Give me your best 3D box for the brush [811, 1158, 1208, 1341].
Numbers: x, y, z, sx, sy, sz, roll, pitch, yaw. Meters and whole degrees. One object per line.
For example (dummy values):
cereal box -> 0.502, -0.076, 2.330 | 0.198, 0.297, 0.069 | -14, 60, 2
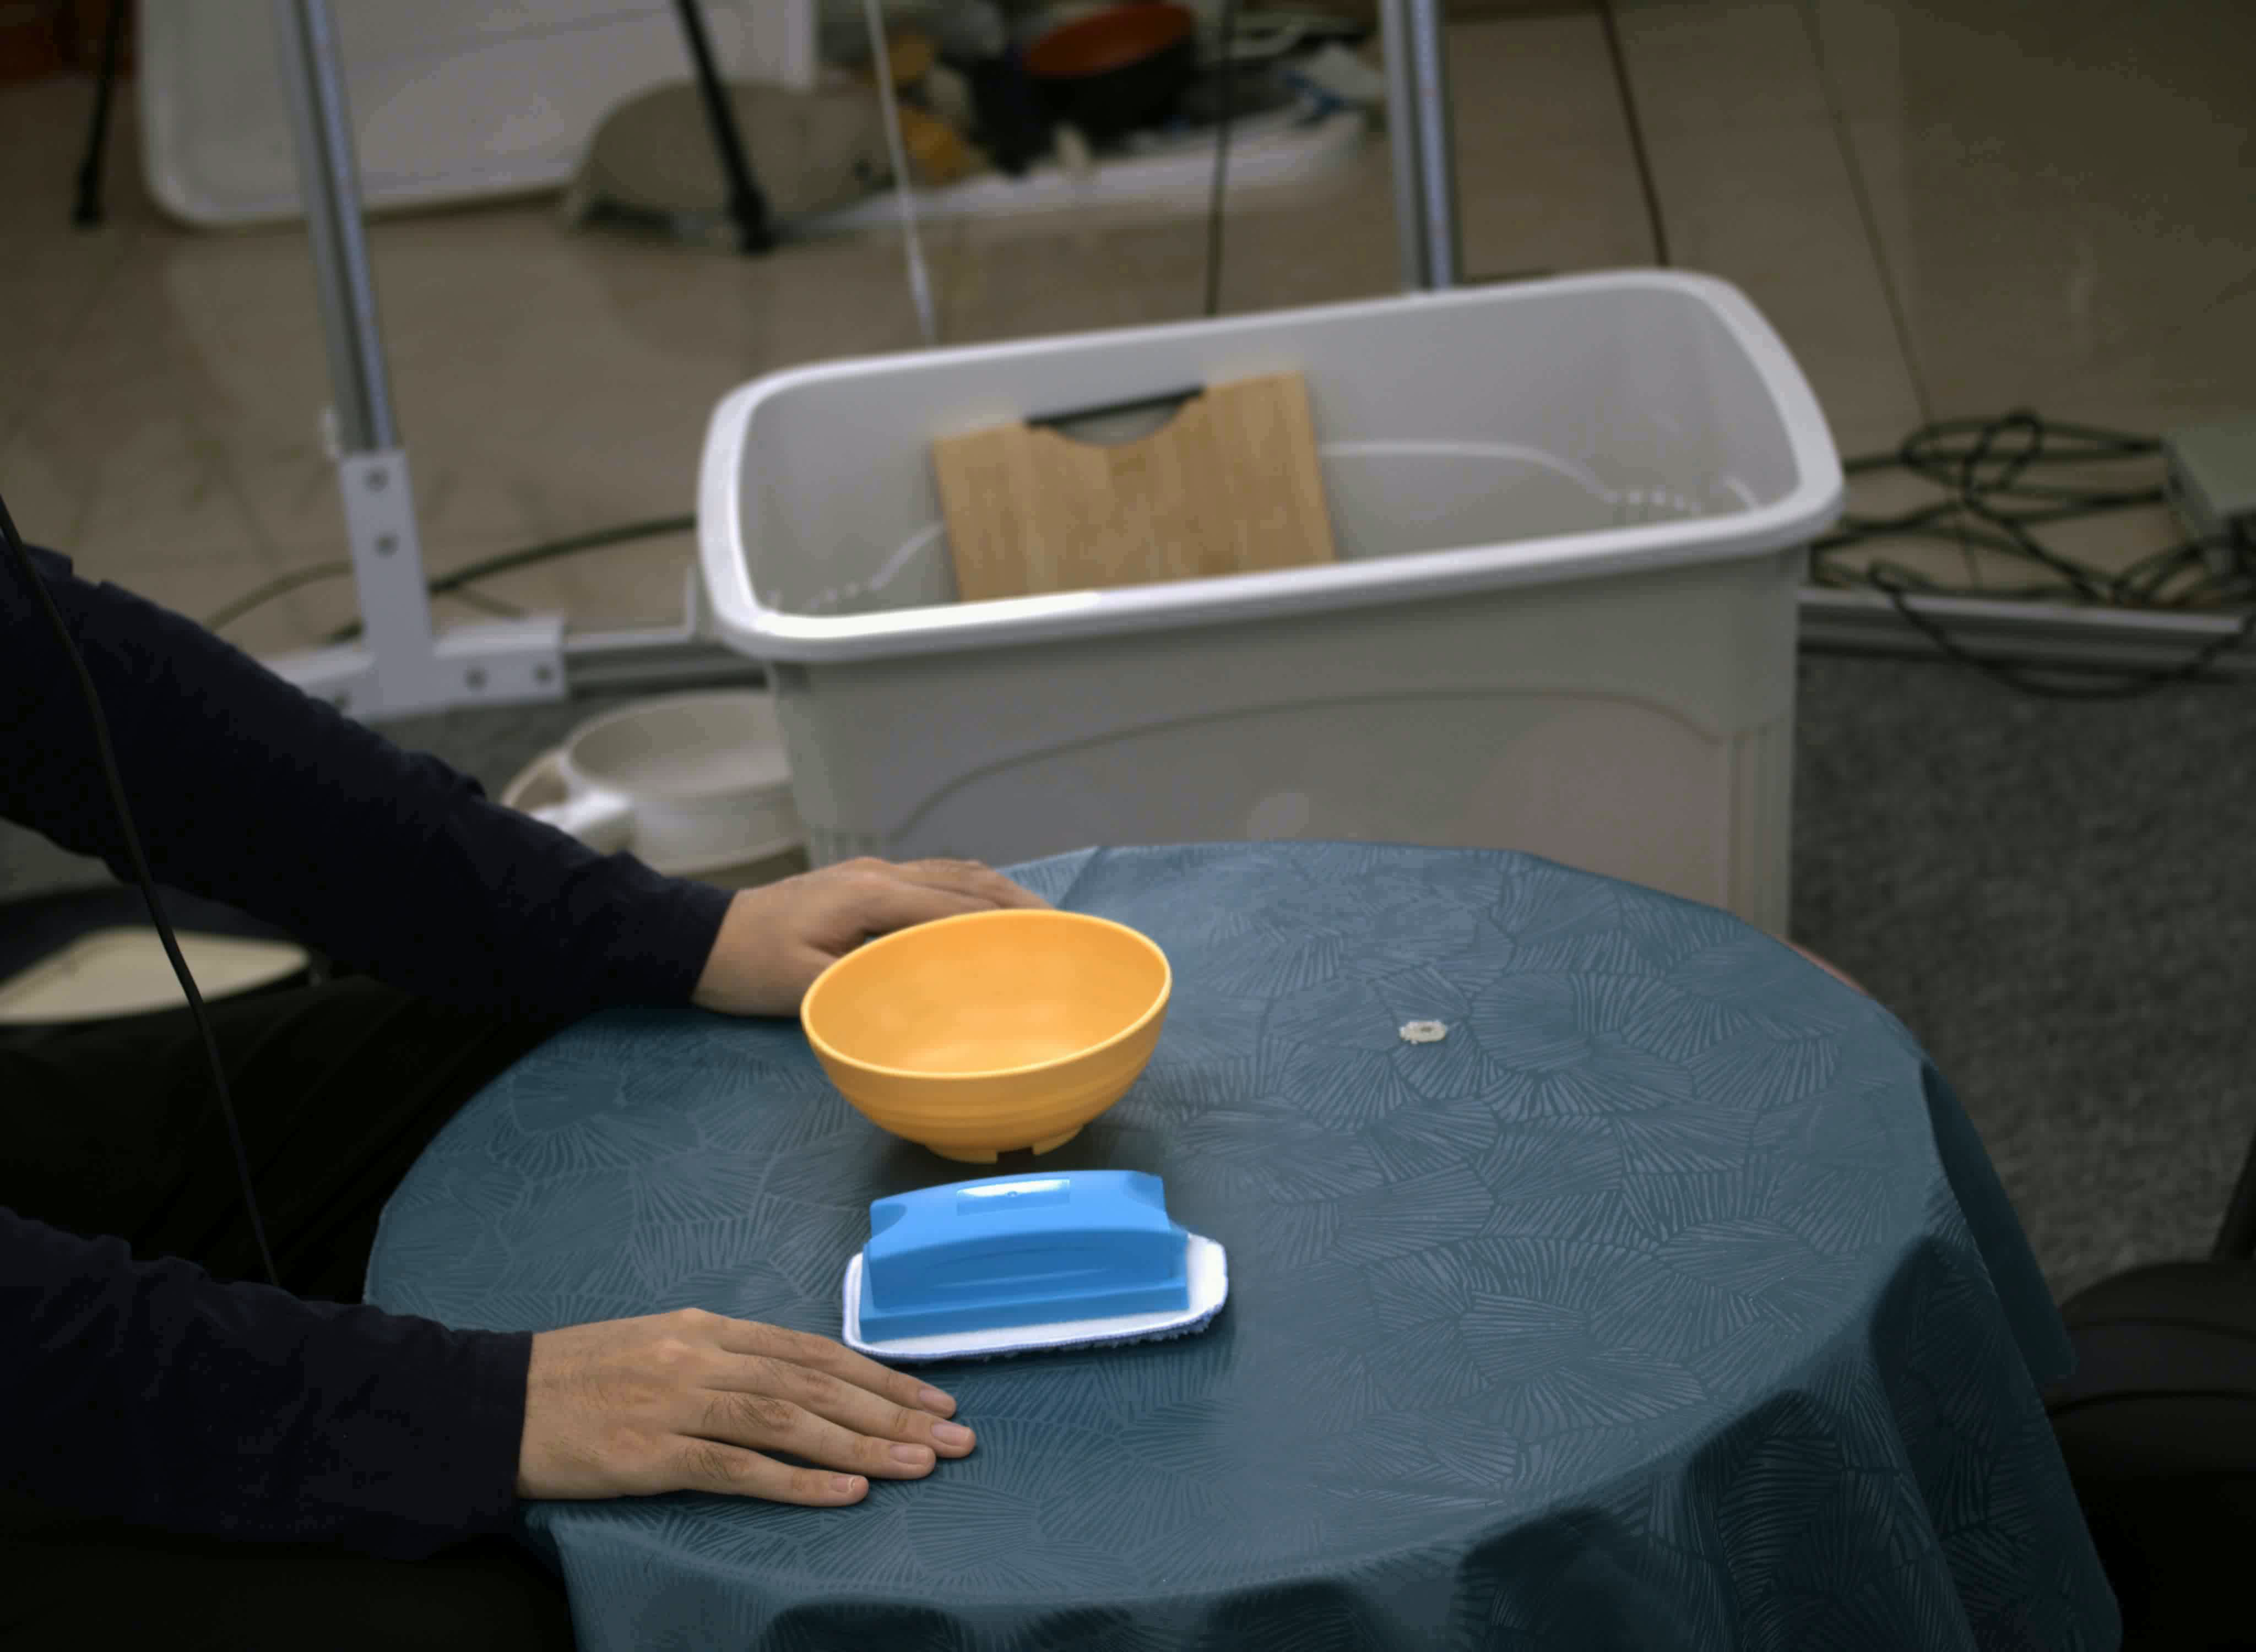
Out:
brush -> -0.043, 0.151, 2.058 | 0.144, 0.057, 0.083 | -3, 21, 2

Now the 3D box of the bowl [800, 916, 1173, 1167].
bowl -> -0.053, 0.091, 2.197 | 0.145, 0.061, 0.143 | -4, 24, 2
